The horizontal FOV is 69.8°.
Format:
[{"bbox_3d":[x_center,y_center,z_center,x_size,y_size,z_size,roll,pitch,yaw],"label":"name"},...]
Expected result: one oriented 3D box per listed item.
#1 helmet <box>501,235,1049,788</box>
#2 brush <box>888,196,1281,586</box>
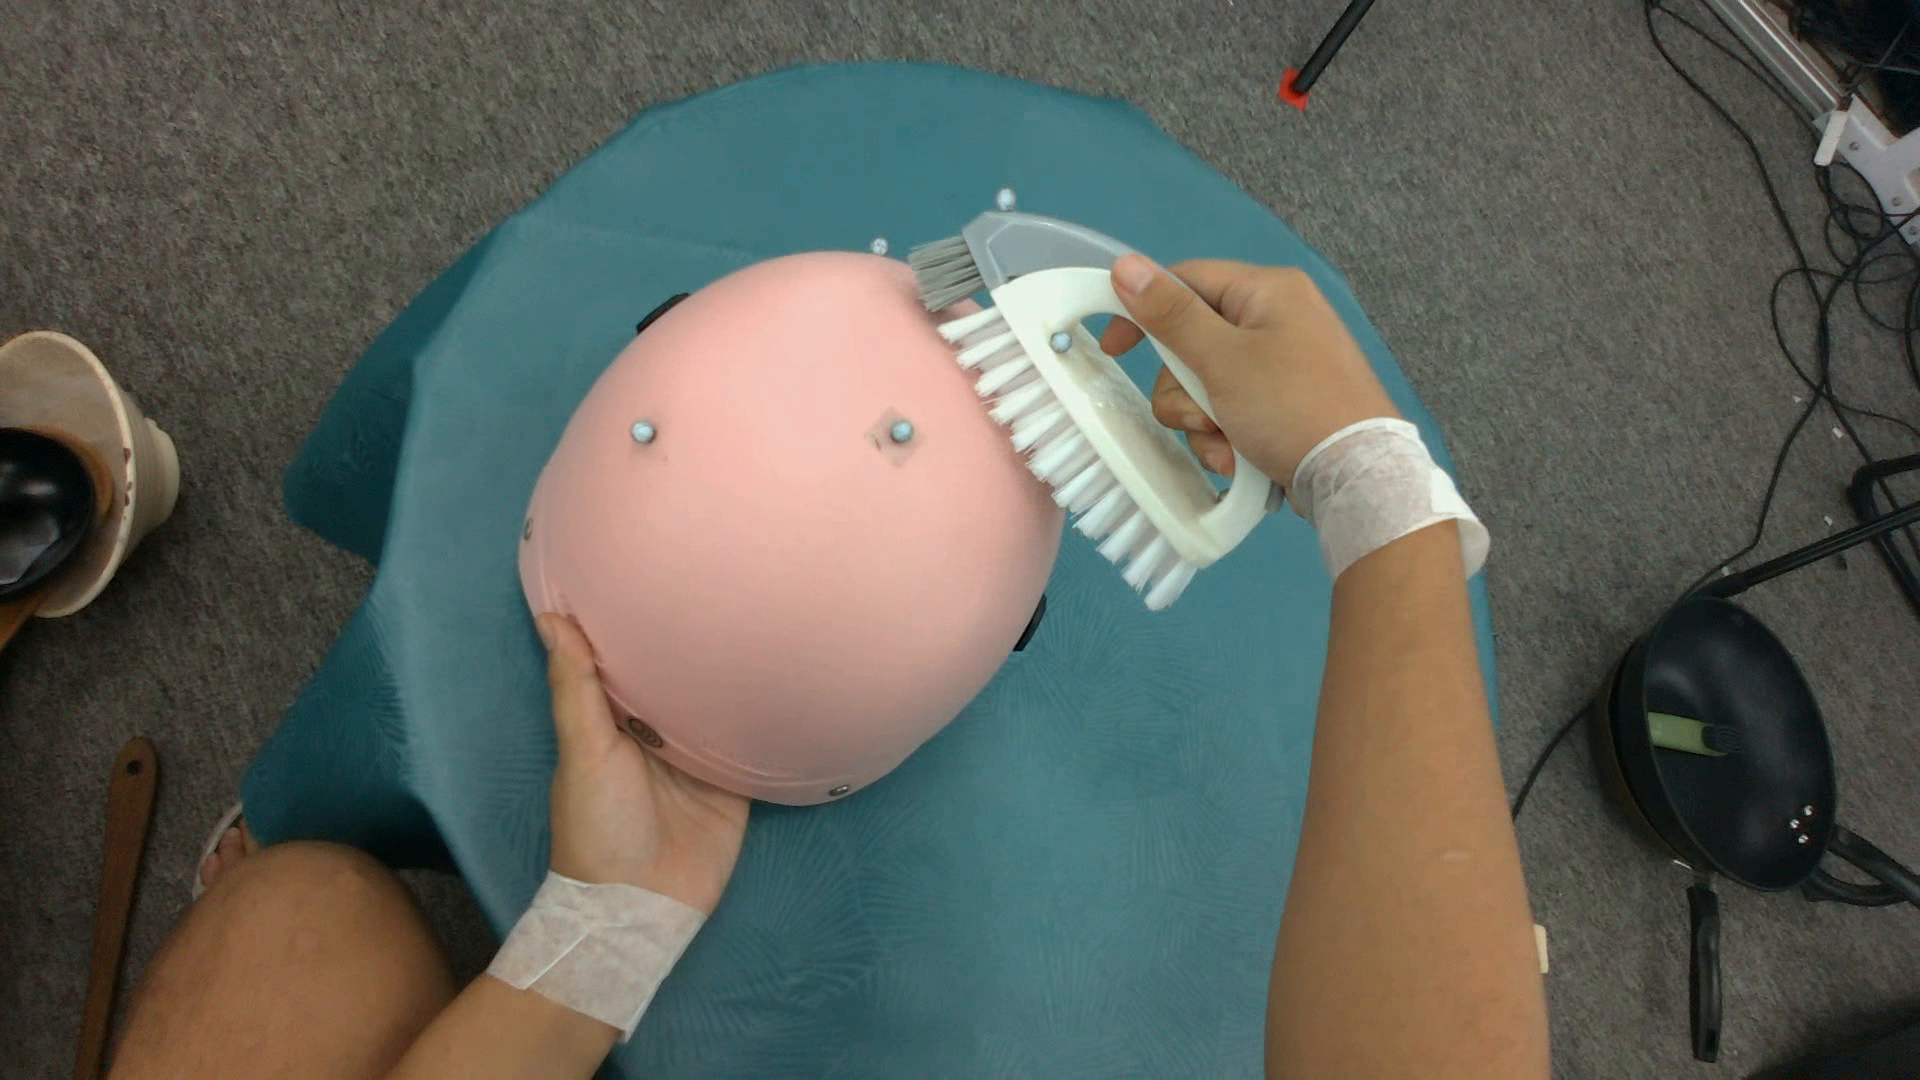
[{"bbox_3d":[-0.057,-0.036,0.596,0.234,0.158,0.267,39,54,-6],"label":"helmet"},{"bbox_3d":[0.054,-0.074,0.540,0.175,0.094,0.061,50,25,4],"label":"brush"}]
